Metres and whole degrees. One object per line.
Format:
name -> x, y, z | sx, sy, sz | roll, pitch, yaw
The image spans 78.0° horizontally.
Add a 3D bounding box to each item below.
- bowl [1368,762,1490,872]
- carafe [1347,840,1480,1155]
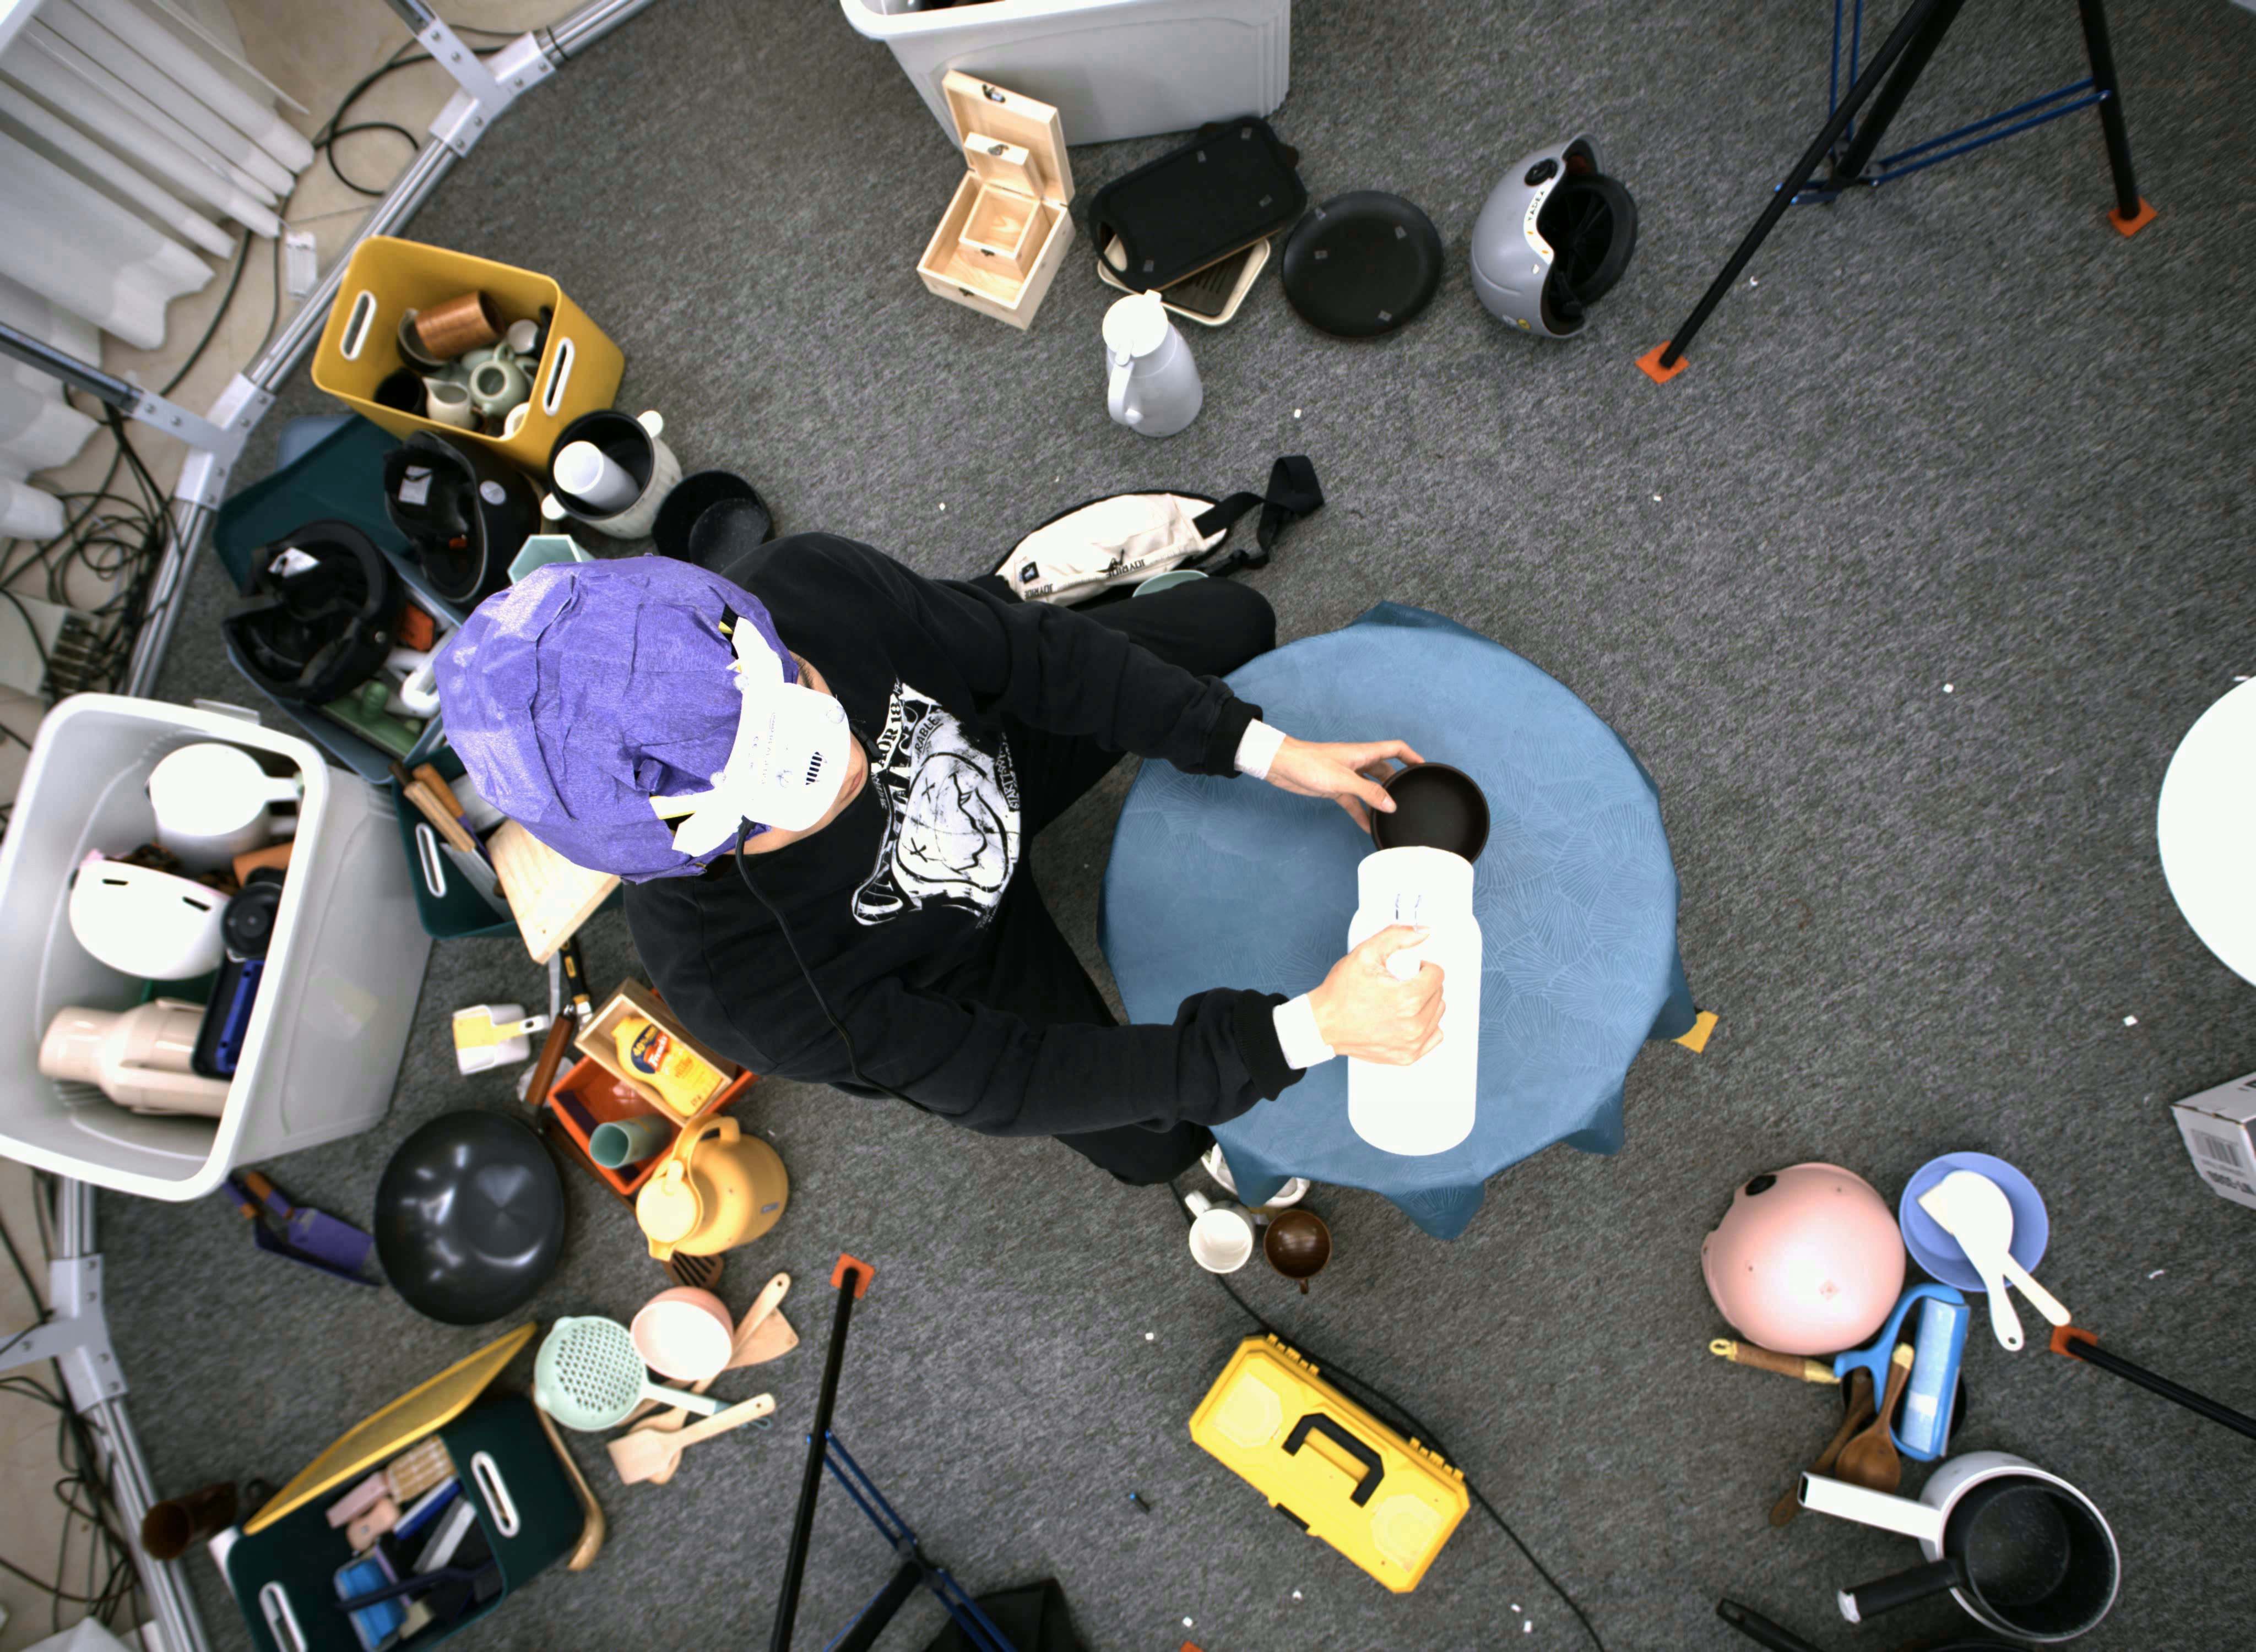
bowl -> 0.297, -0.006, 1.367 | 0.118, 0.069, 0.118 | 0, 93, 7
carafe -> 0.255, 0.166, 1.238 | 0.124, 0.169, 0.274 | 5, 118, 15
